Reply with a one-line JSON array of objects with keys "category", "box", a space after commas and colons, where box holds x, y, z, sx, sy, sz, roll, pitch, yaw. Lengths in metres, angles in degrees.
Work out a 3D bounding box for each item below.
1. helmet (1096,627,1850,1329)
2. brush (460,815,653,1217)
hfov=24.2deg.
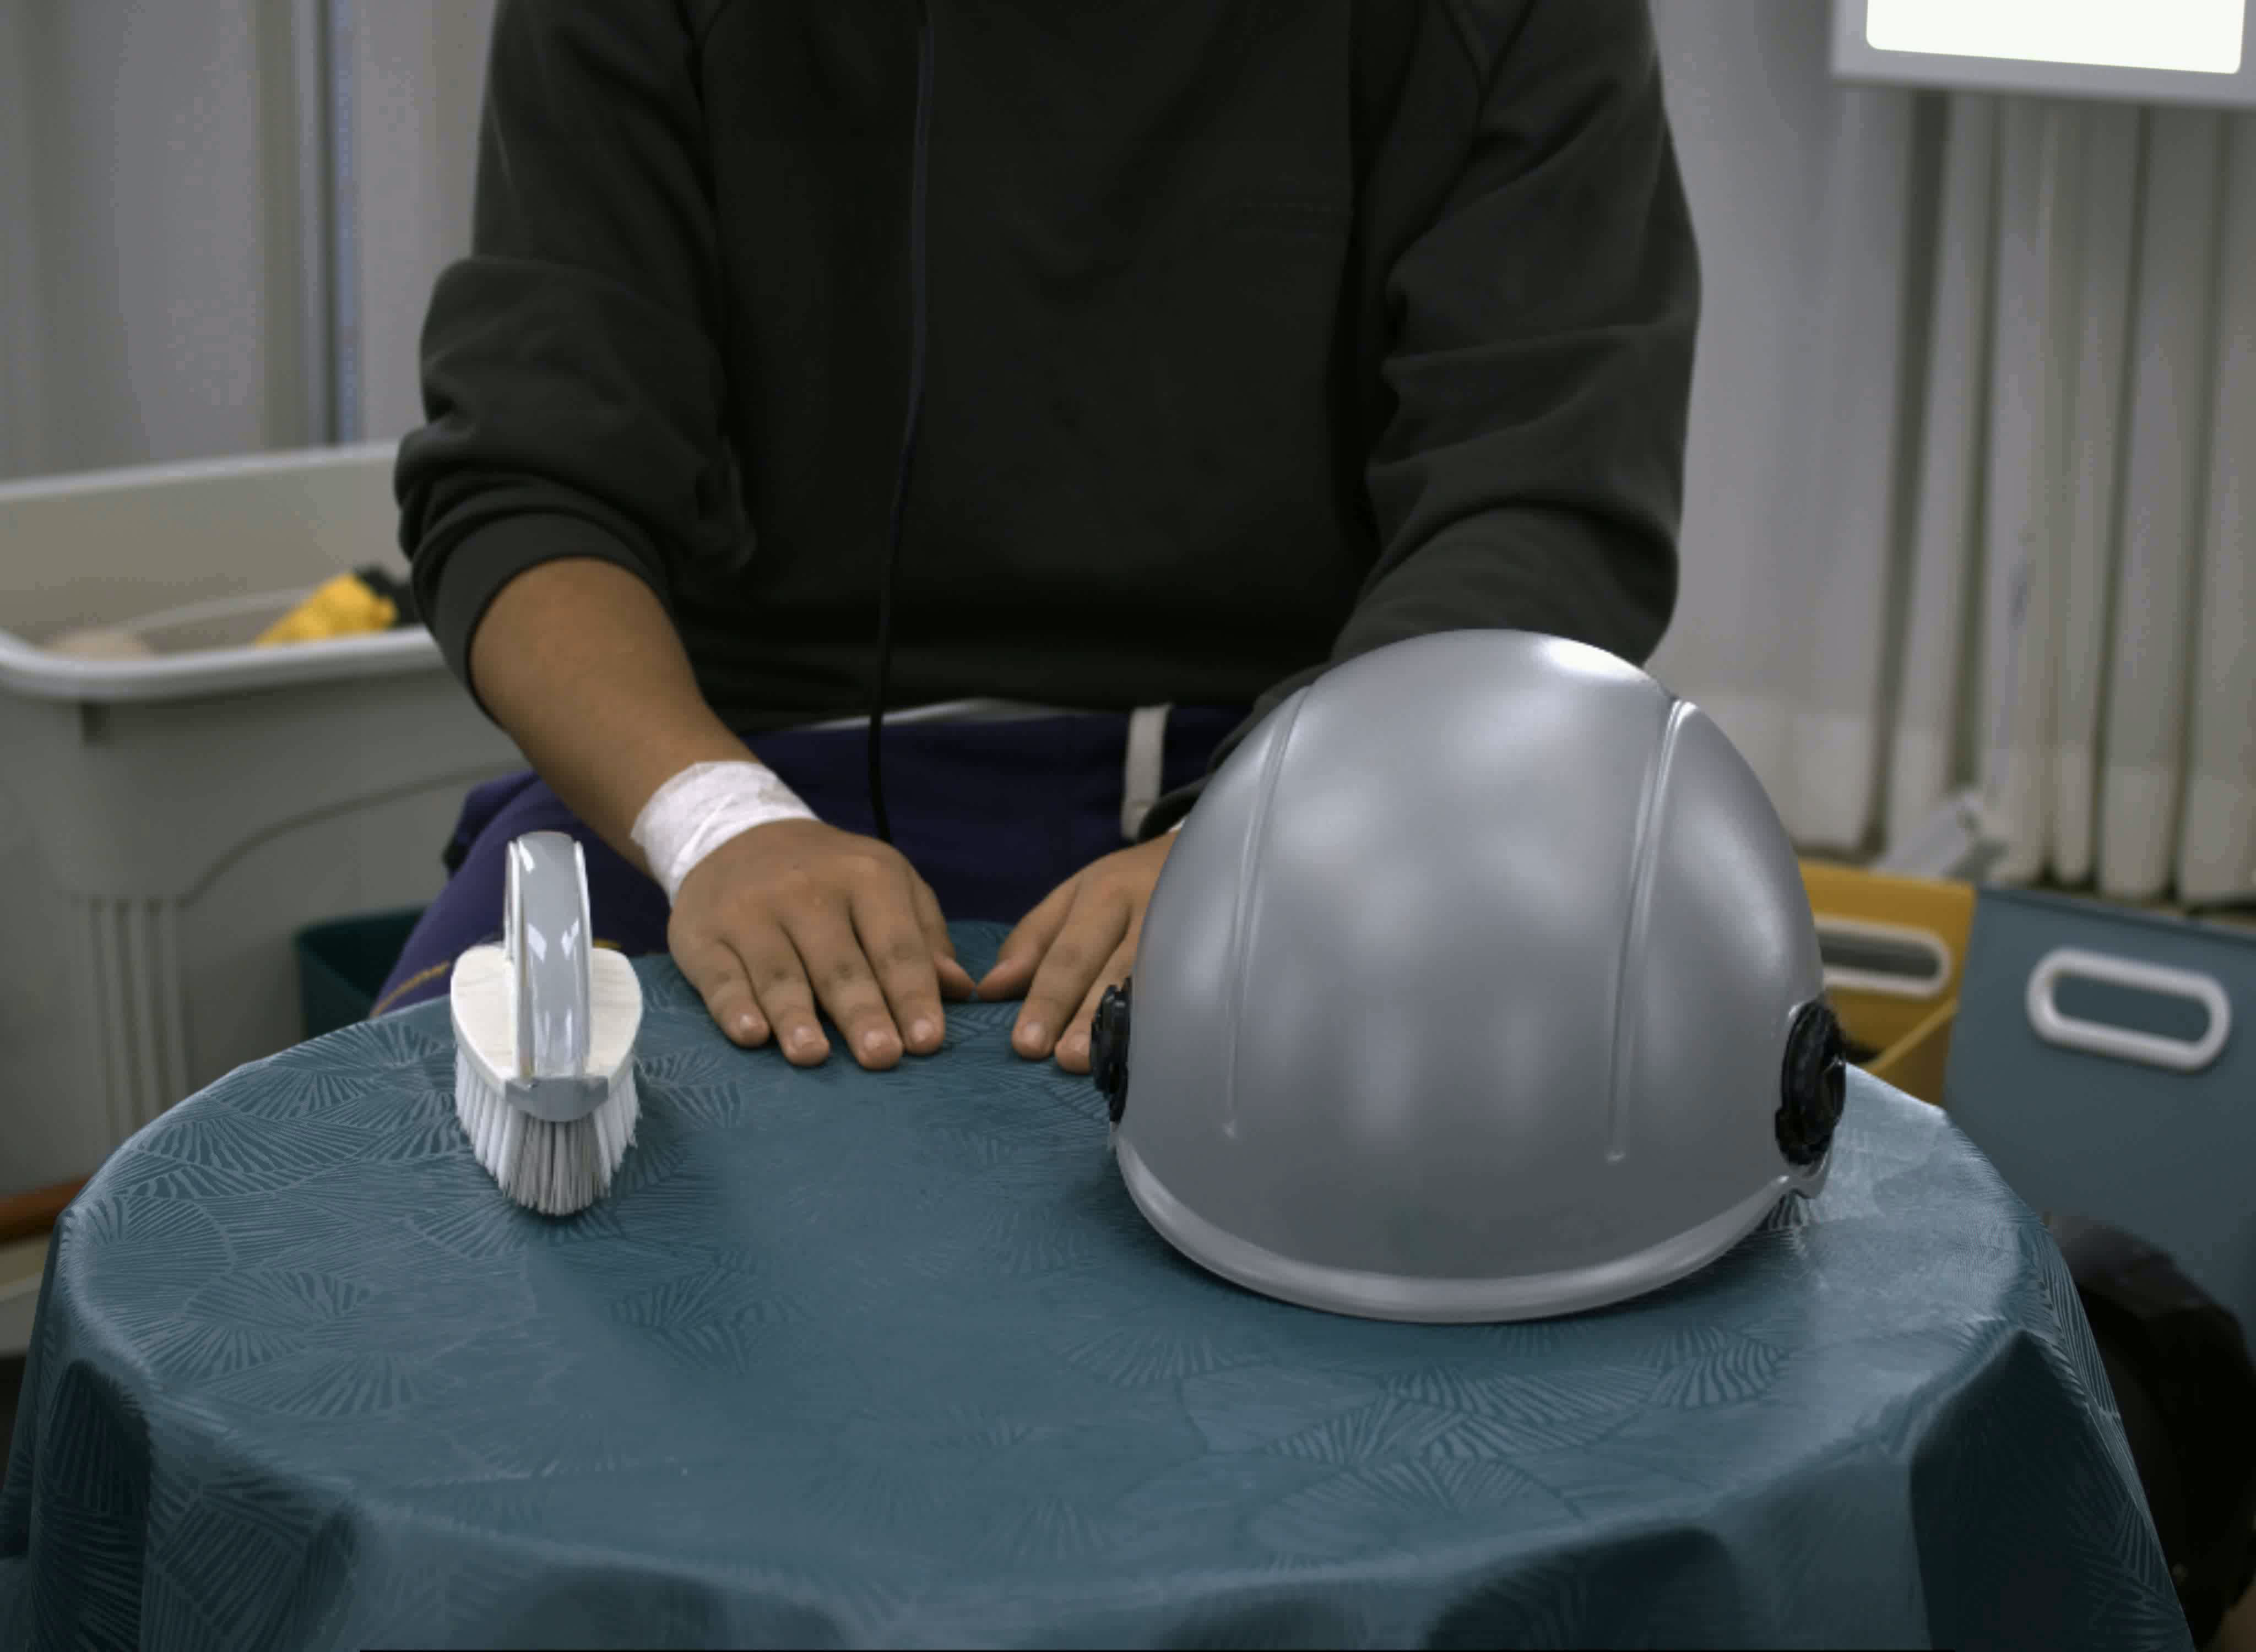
[{"category": "helmet", "box": [0.108, 0.030, 1.617, 0.230, 0.170, 0.275, 3, 18, 11]}, {"category": "brush", "box": [-0.180, 0.054, 1.658, 0.061, 0.095, 0.174, -3, 19, -7]}]
